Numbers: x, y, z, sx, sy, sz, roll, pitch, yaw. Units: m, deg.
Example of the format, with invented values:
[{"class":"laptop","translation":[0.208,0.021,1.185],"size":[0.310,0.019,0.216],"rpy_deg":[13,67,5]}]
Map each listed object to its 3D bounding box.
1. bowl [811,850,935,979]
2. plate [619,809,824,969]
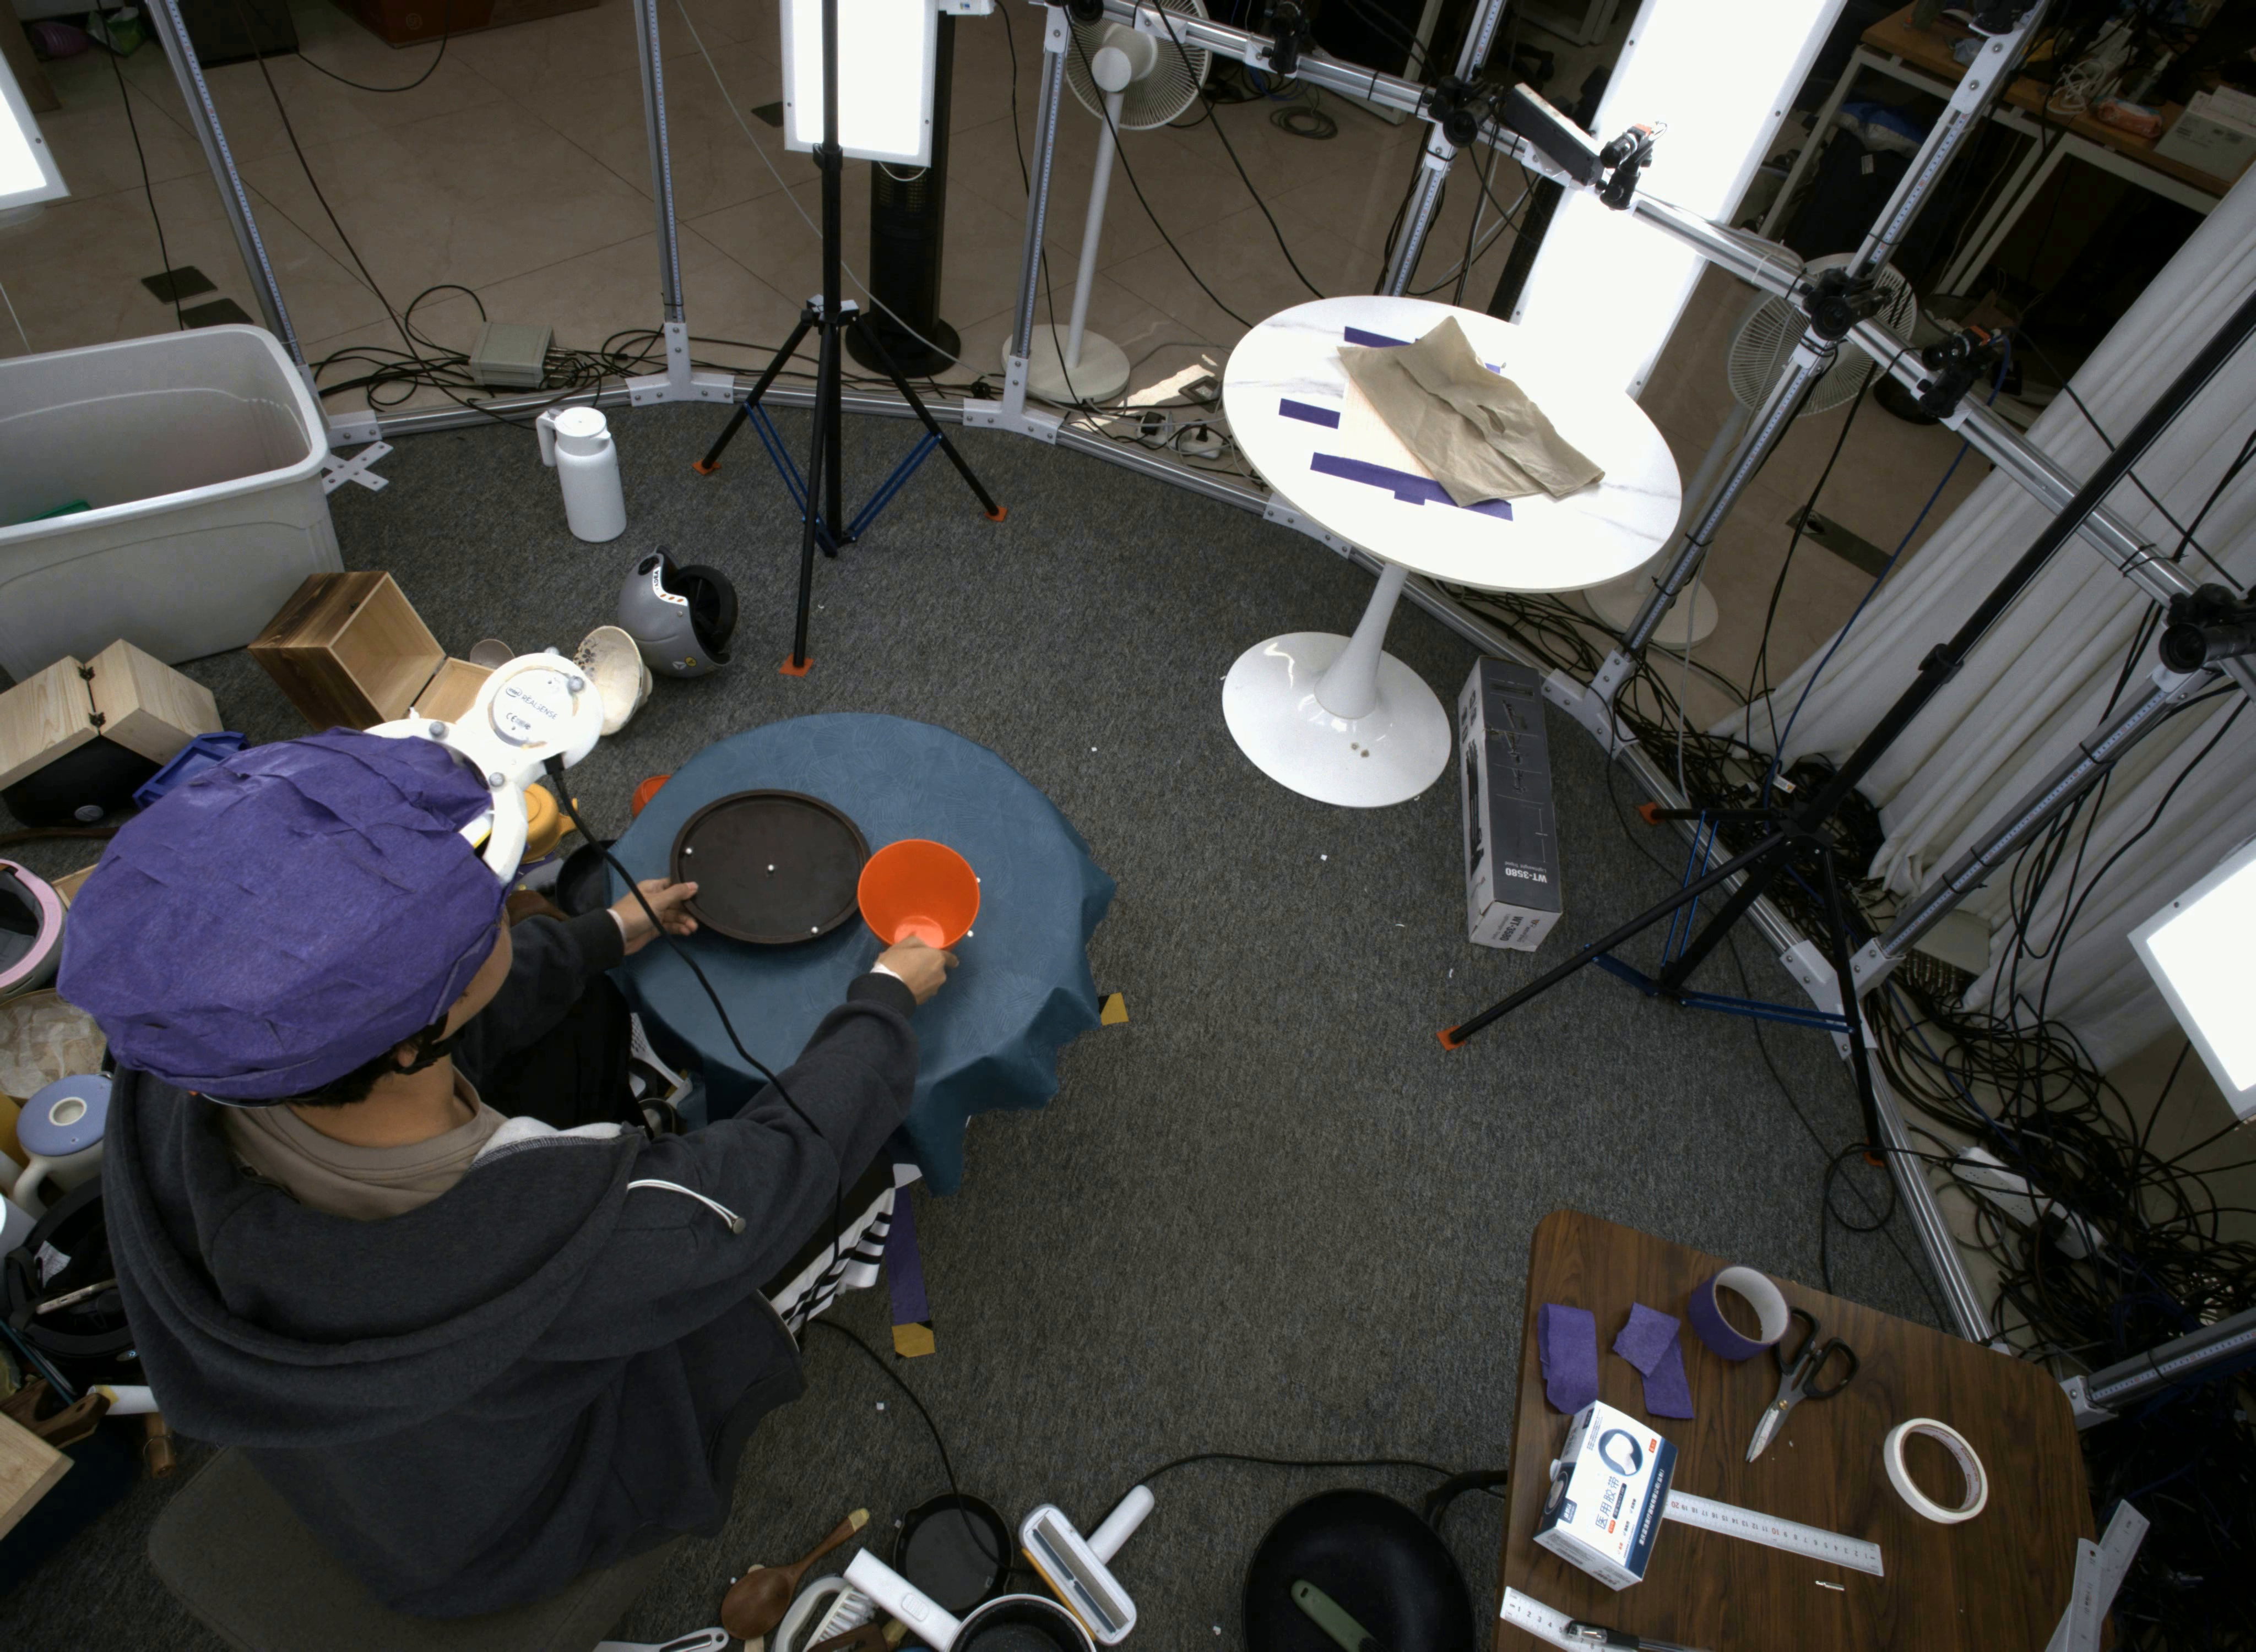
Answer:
[{"class":"bowl","translation":[-0.313,0.119,1.592],"size":[0.148,0.106,0.145],"rpy_deg":[9,51,-9]},{"class":"plate","translation":[-0.507,0.075,1.619],"size":[0.255,0.029,0.250],"rpy_deg":[12,47,-12]}]
